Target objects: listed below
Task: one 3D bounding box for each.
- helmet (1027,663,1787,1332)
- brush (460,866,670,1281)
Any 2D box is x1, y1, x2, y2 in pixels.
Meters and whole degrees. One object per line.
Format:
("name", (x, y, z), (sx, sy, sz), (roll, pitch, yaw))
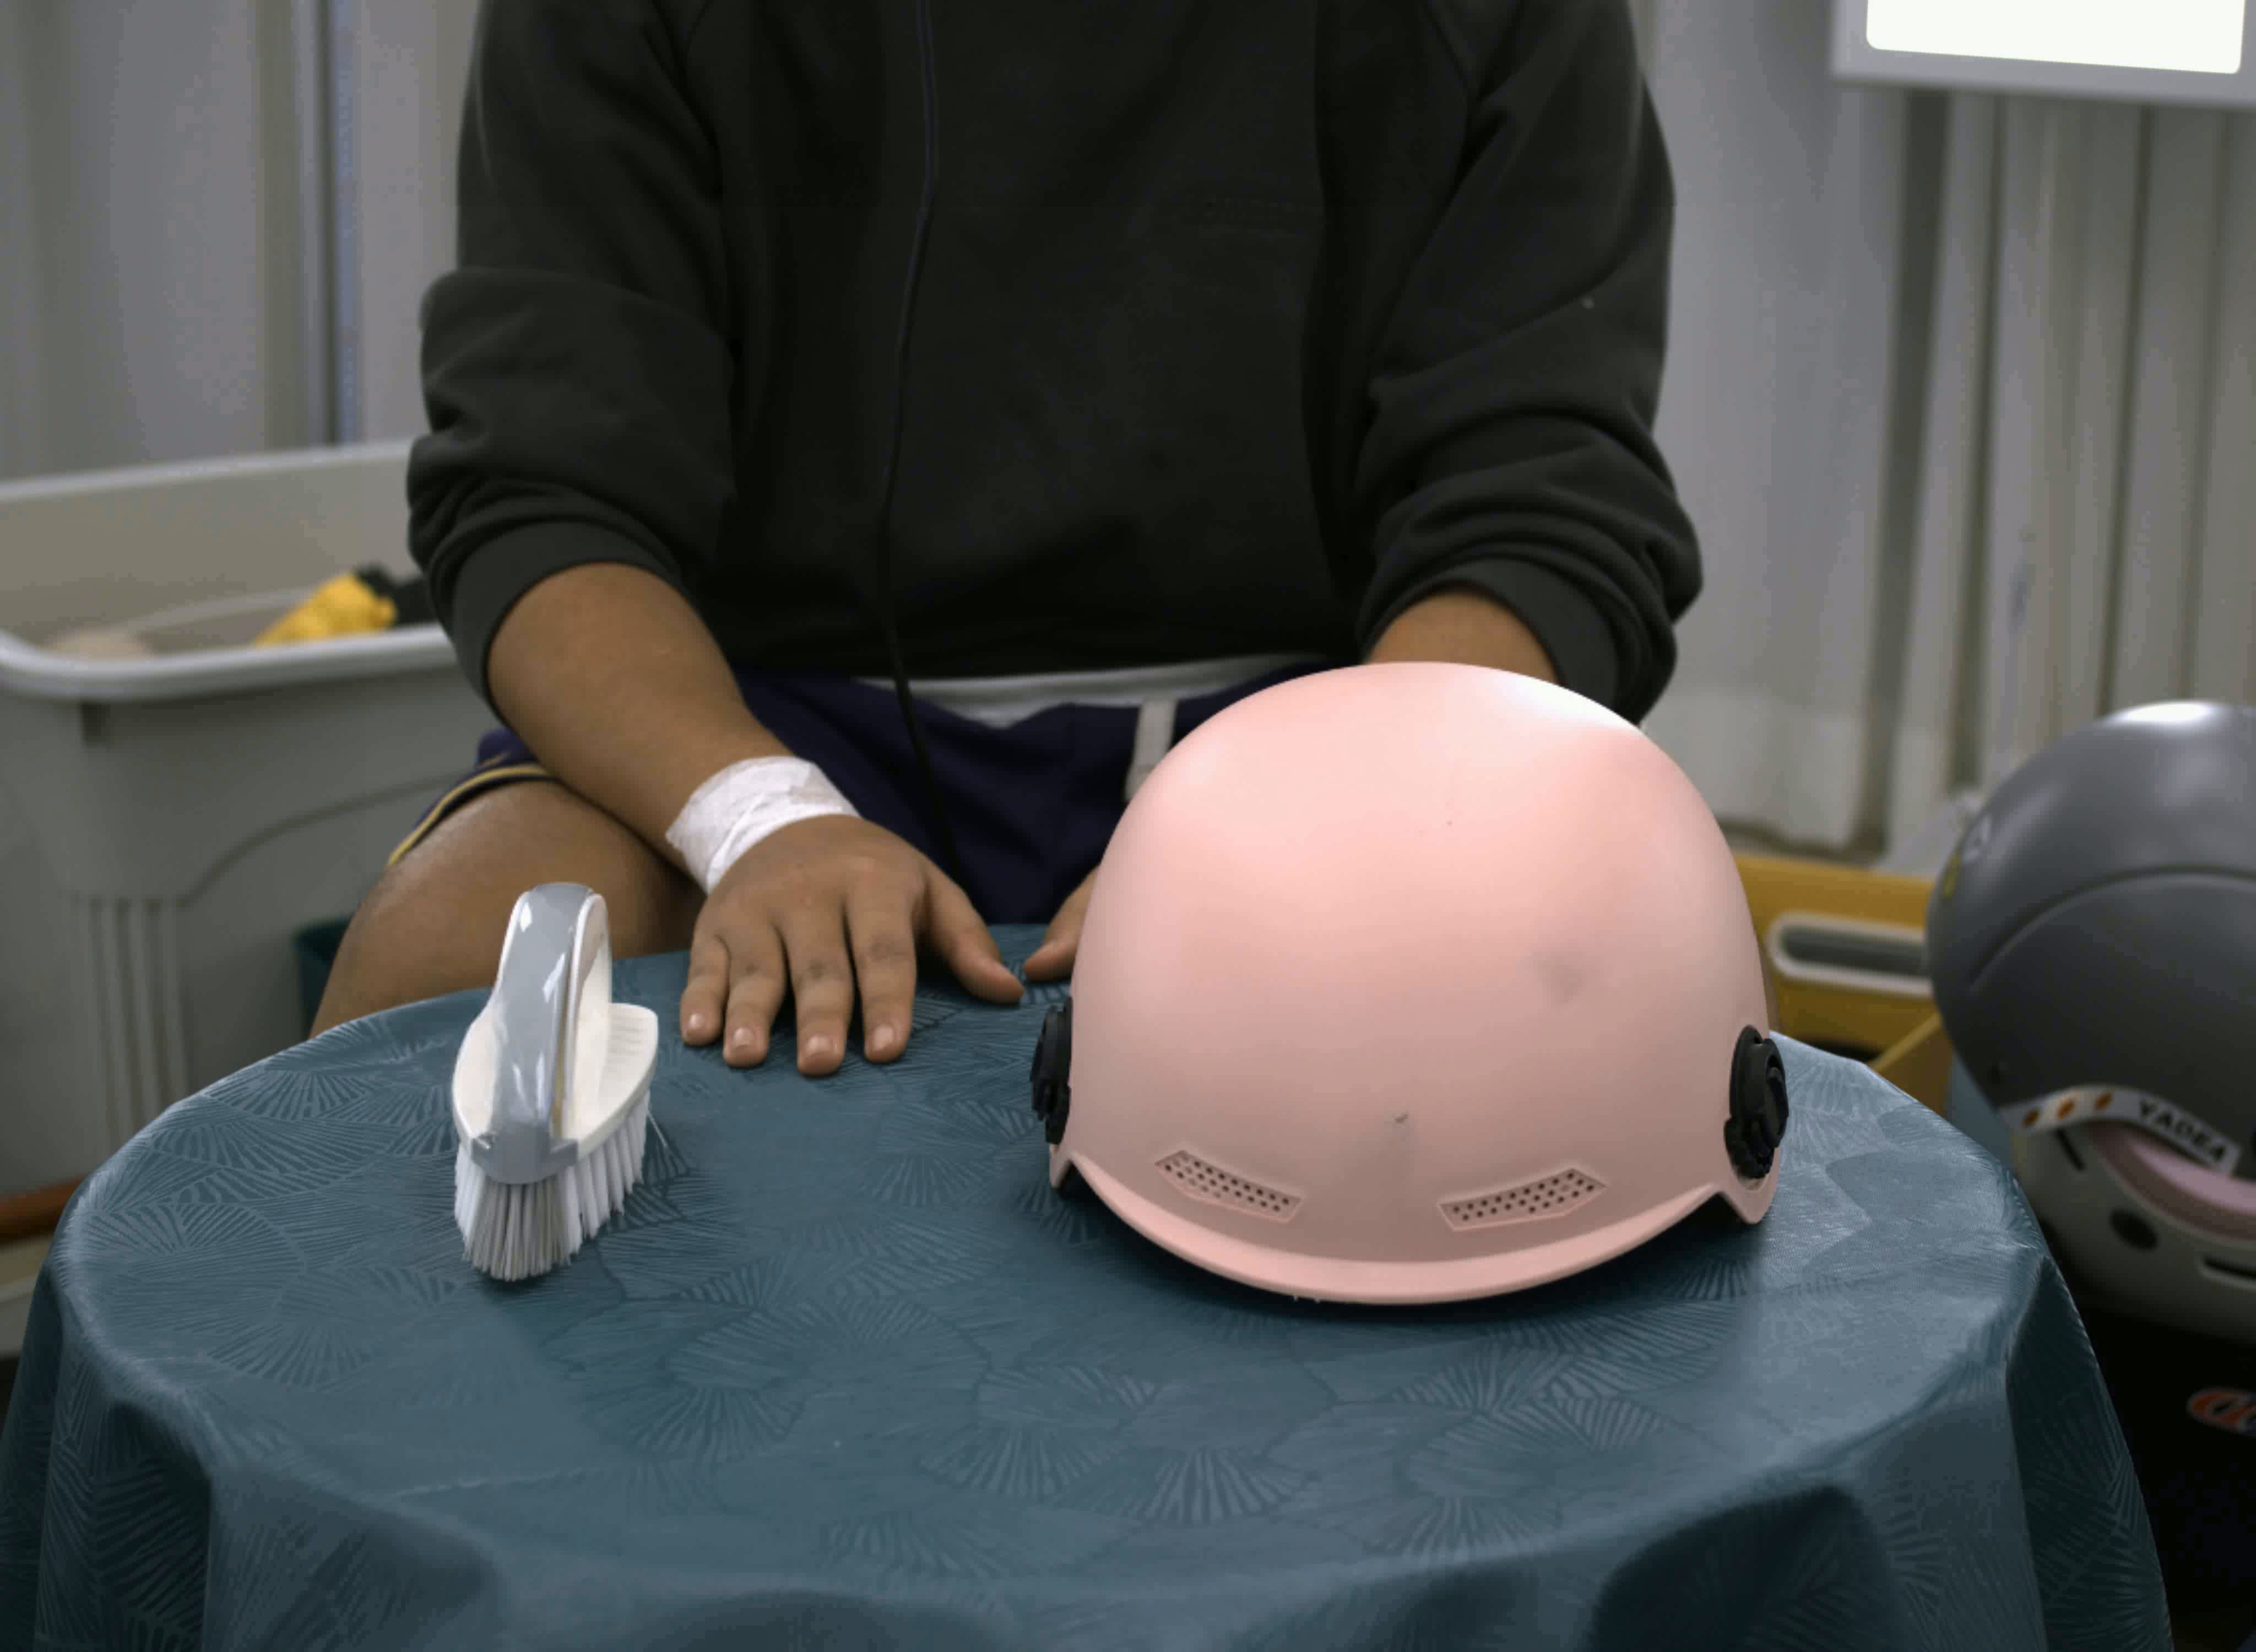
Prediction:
("helmet", (0.087, 0.038, 1.613), (0.233, 0.160, 0.265), (3, 20, 7))
("brush", (-0.175, 0.069, 1.601), (0.061, 0.095, 0.174), (-1, 17, 1))
